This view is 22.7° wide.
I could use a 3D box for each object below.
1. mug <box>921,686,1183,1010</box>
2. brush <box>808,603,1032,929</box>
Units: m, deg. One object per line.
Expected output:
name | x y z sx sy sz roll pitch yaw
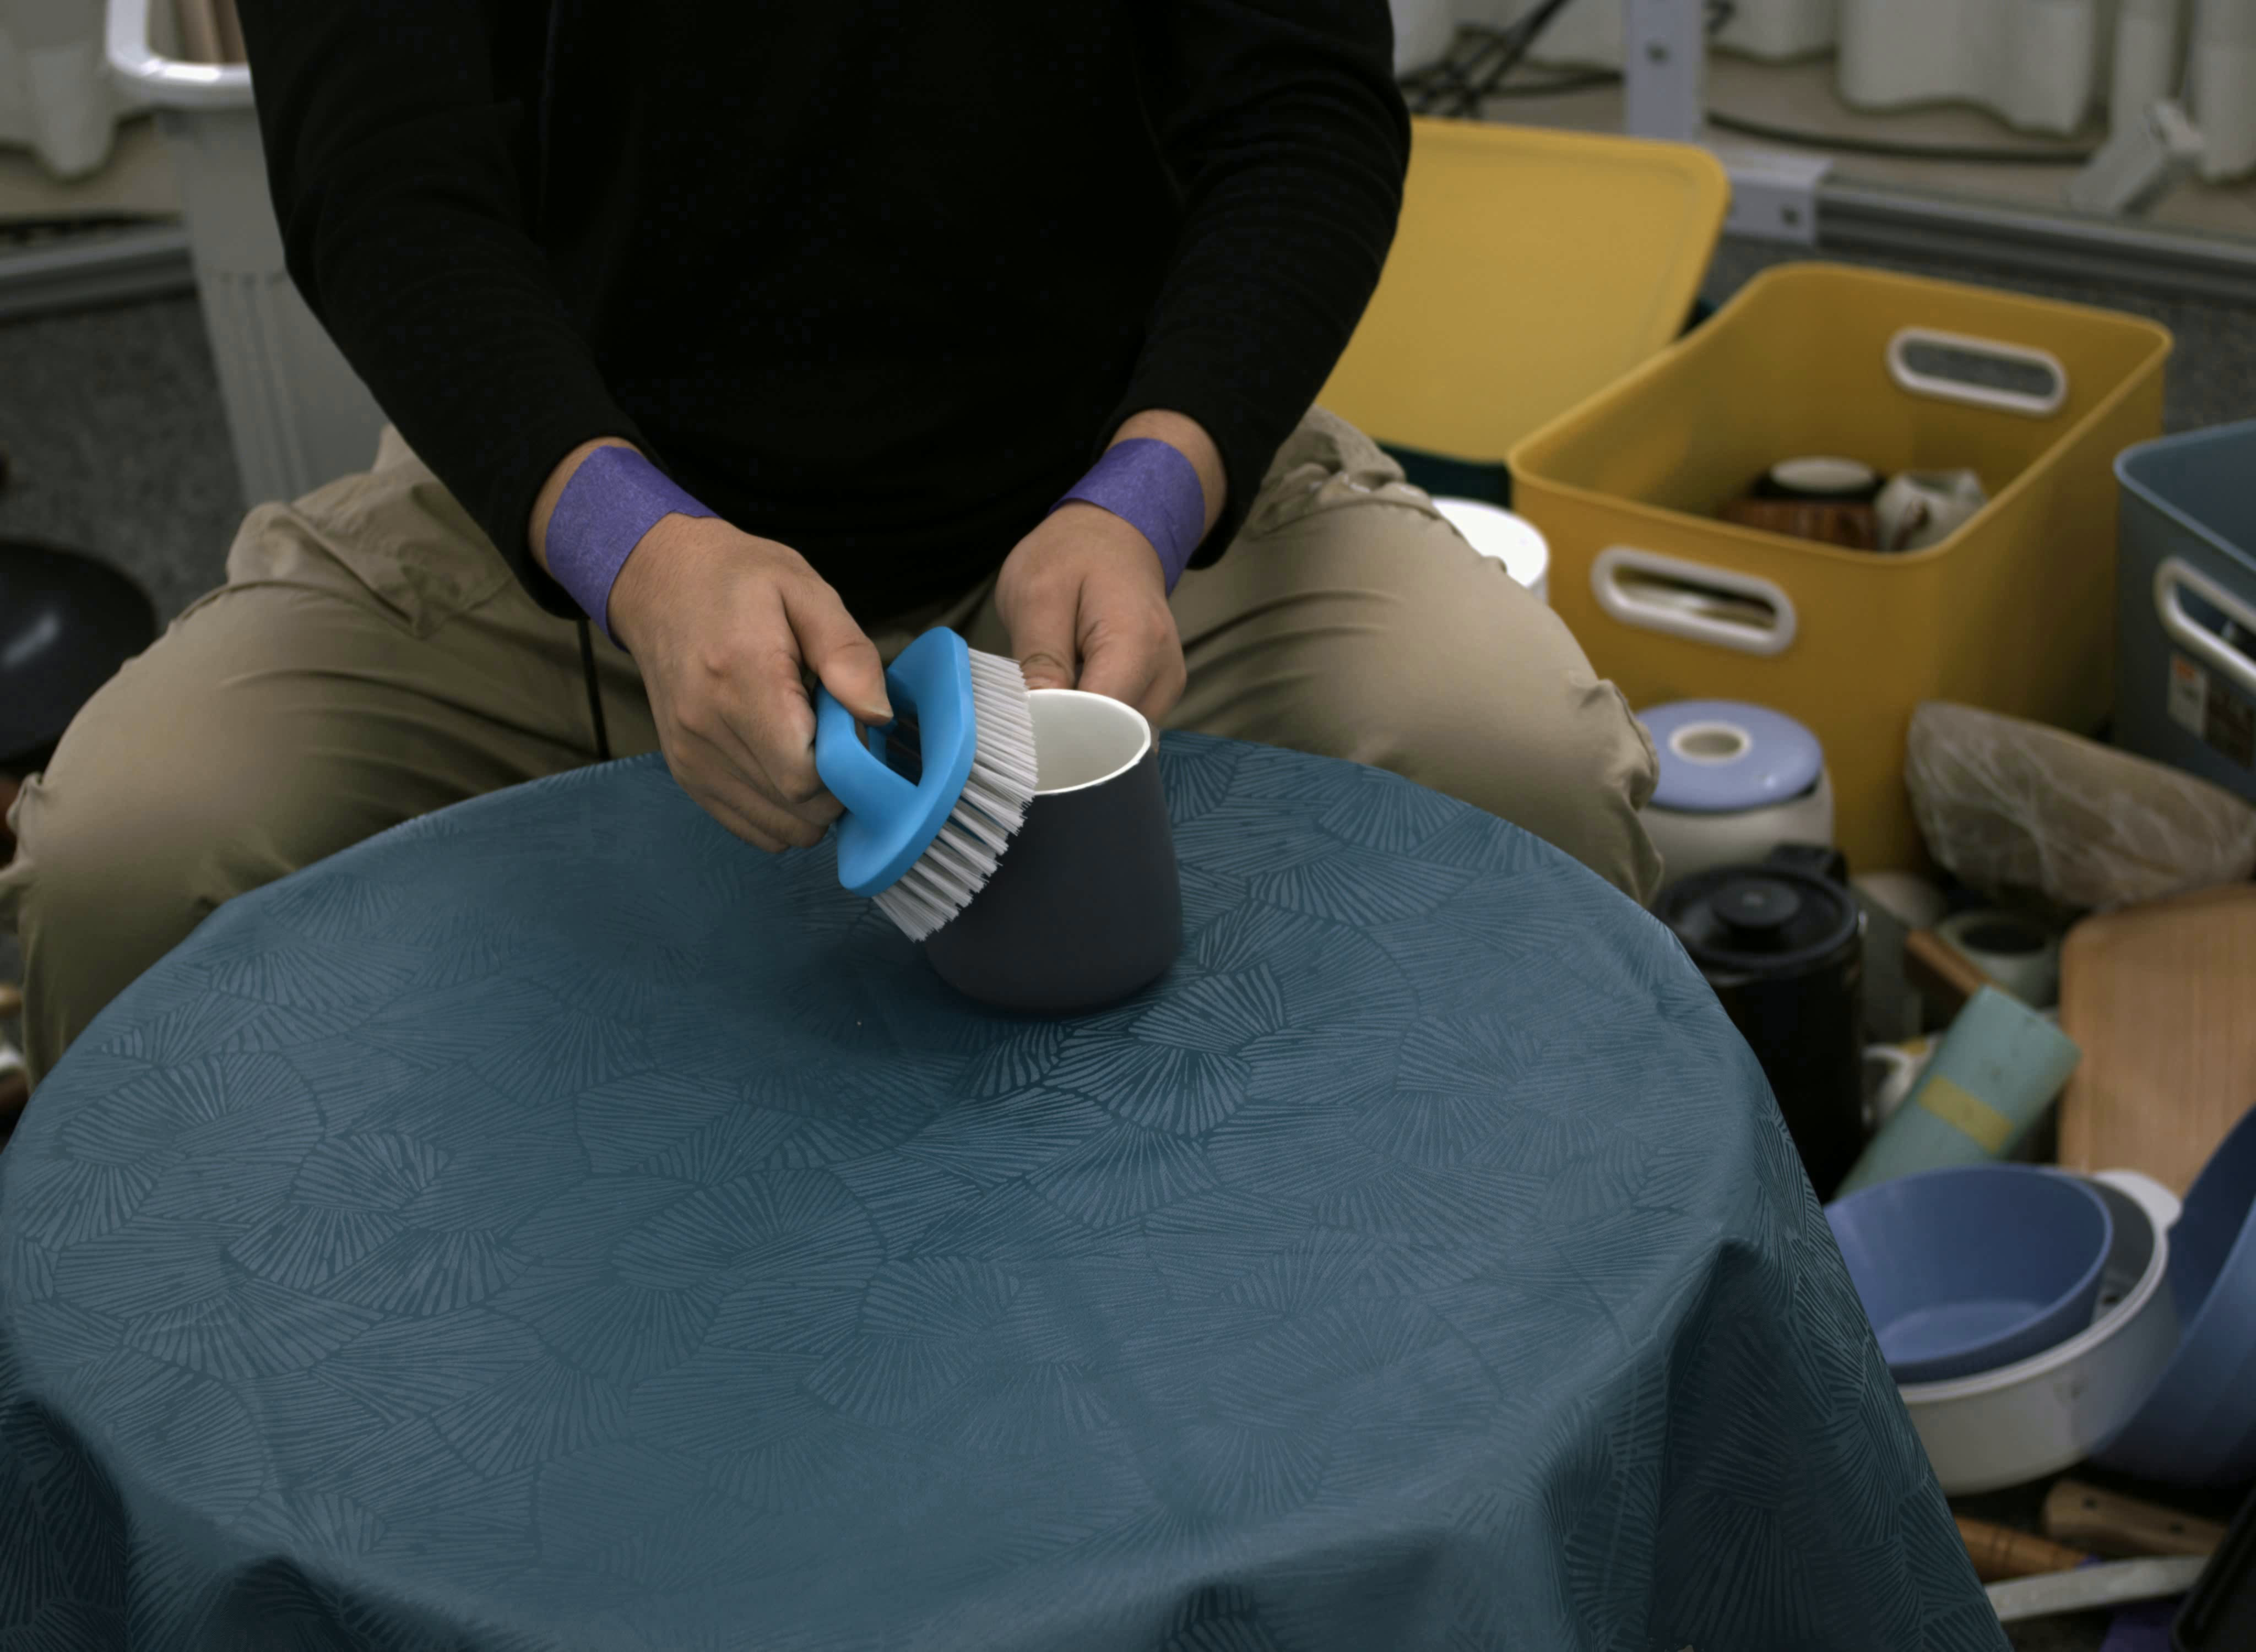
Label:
mug | -0.028 0.001 1.996 0.093 0.089 0.125 -2 29 1
brush | -0.080 -0.028 1.954 0.063 0.083 0.144 30 23 -17
